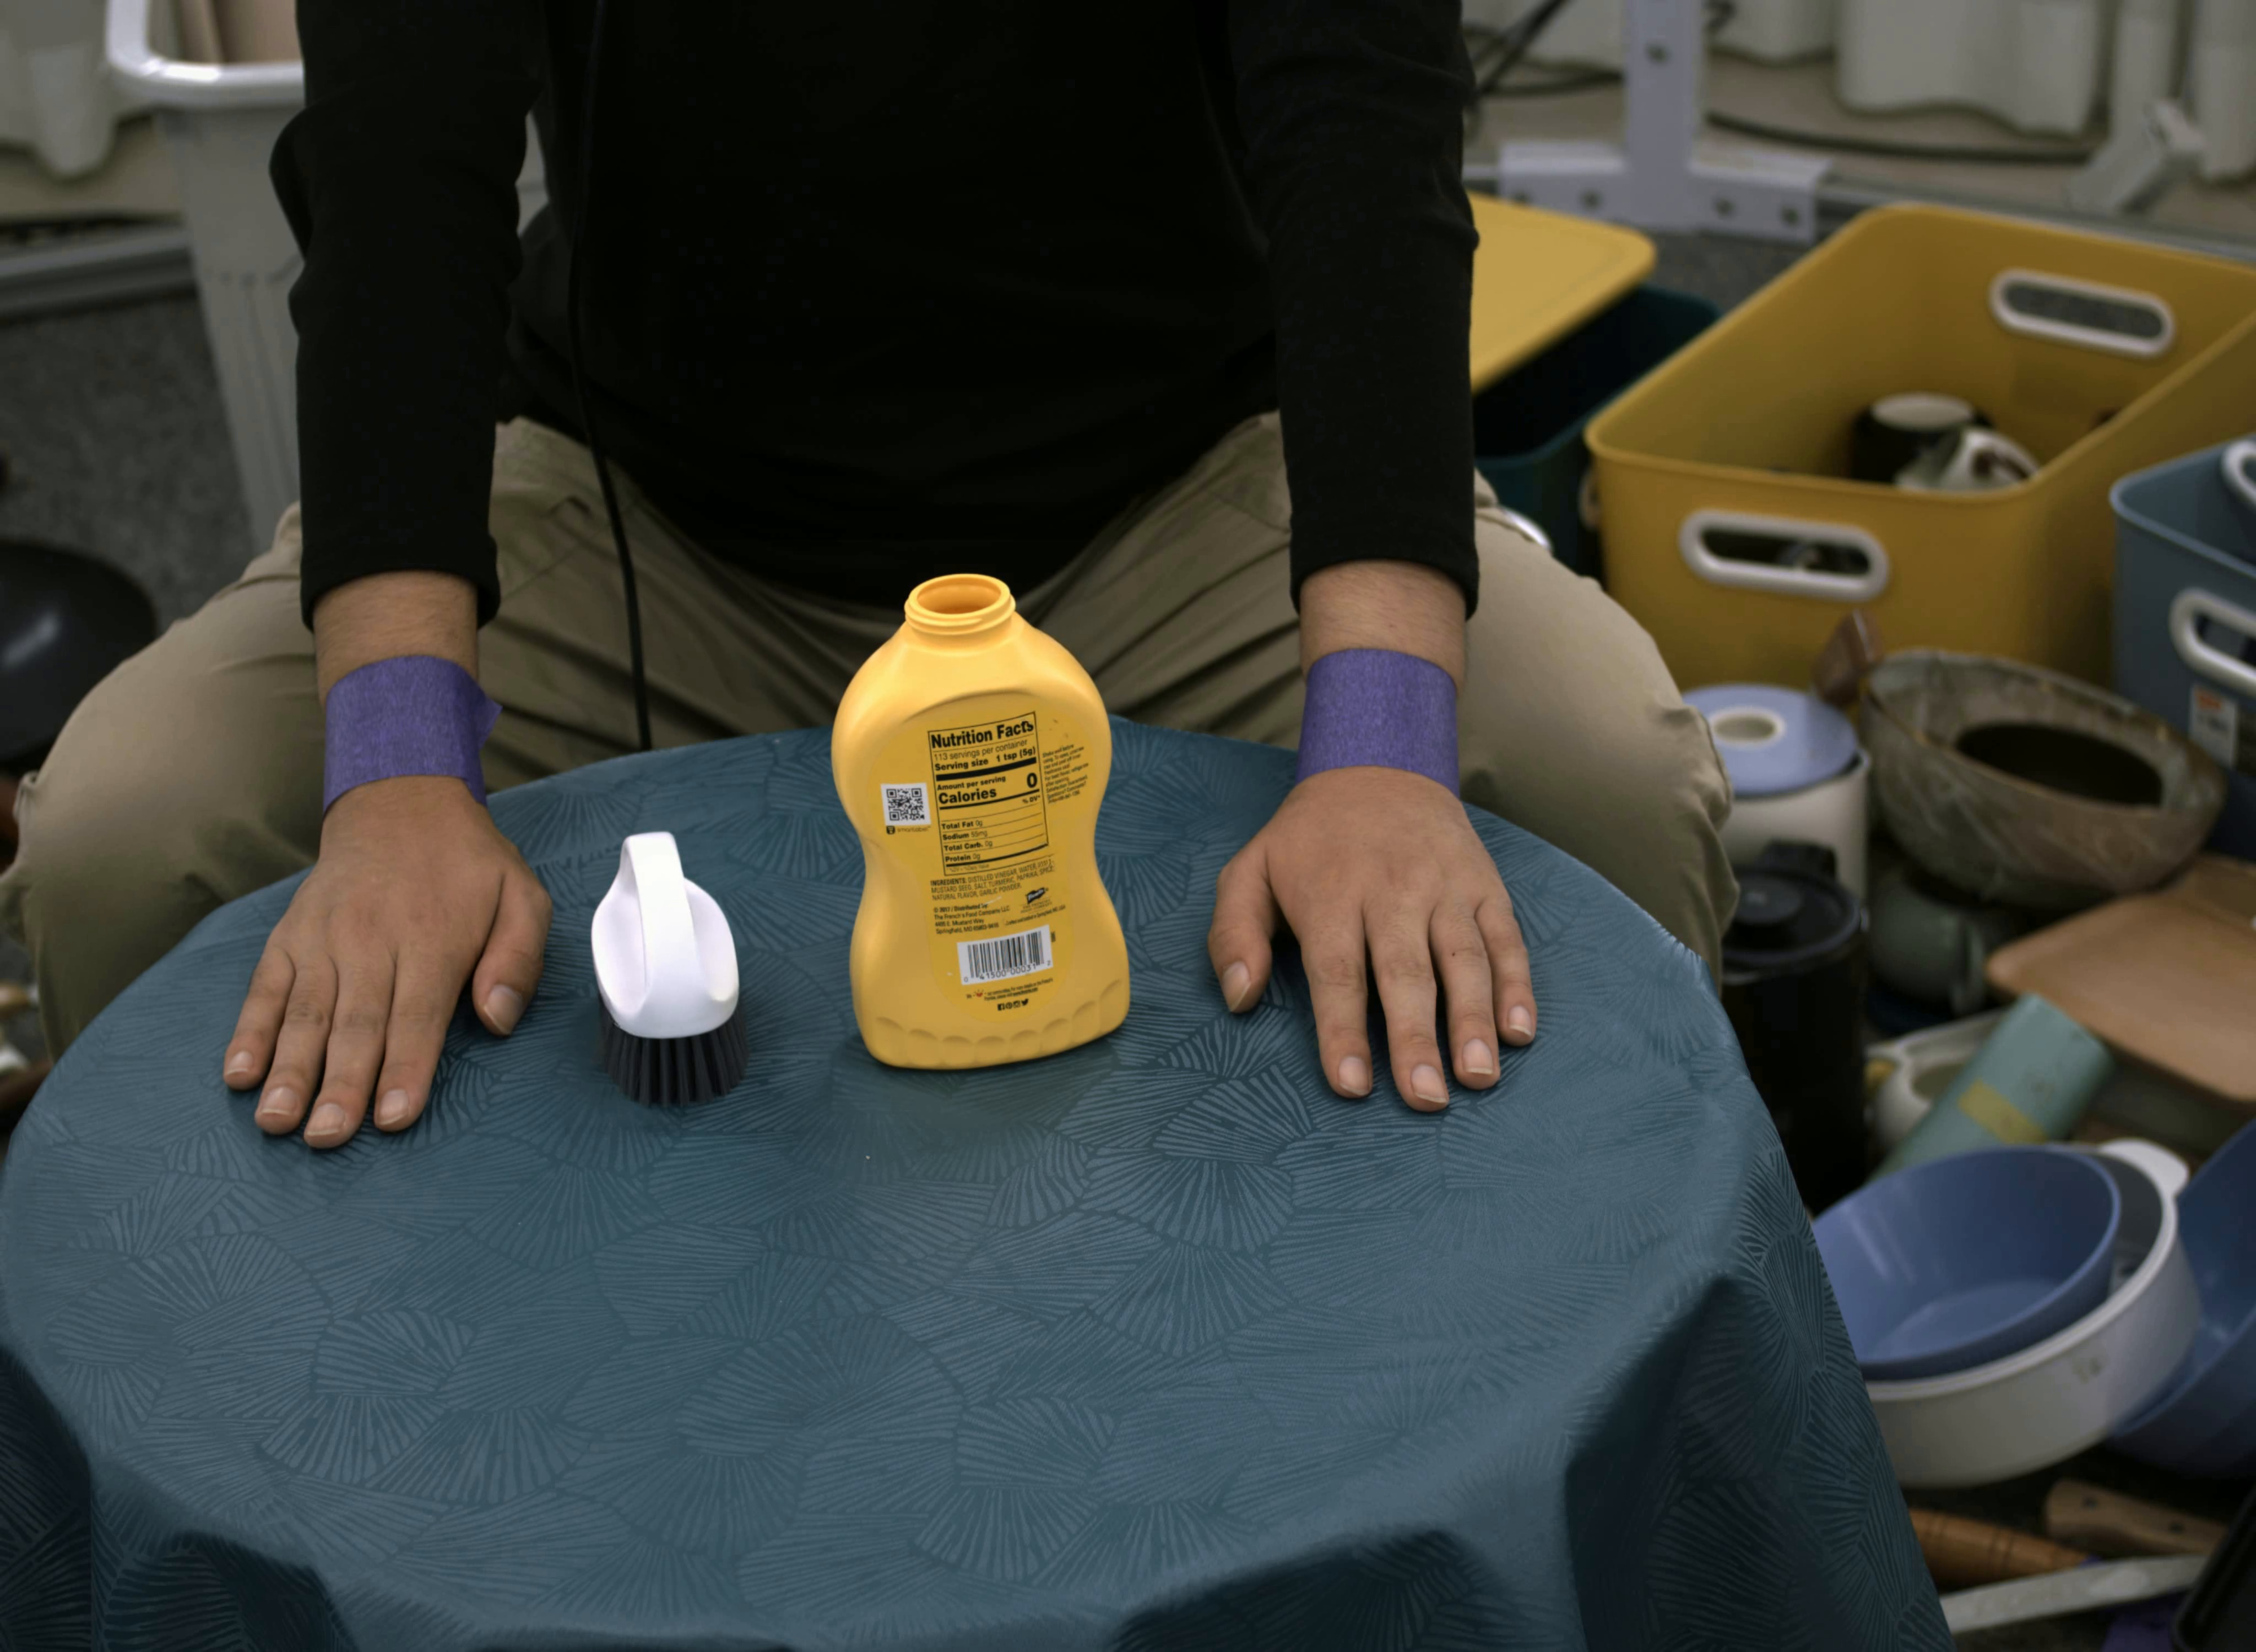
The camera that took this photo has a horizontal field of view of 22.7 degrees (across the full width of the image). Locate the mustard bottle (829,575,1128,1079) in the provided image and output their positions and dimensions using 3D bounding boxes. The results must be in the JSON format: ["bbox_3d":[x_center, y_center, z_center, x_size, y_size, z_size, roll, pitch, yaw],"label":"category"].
[{"bbox_3d":[-0.053,-0.001,1.923,0.098,0.170,0.060,-11,24,-12],"label":"mustard bottle"}]

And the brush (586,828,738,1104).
[{"bbox_3d":[-0.163,0.042,1.951,0.050,0.071,0.100,-5,28,-7],"label":"brush"}]
